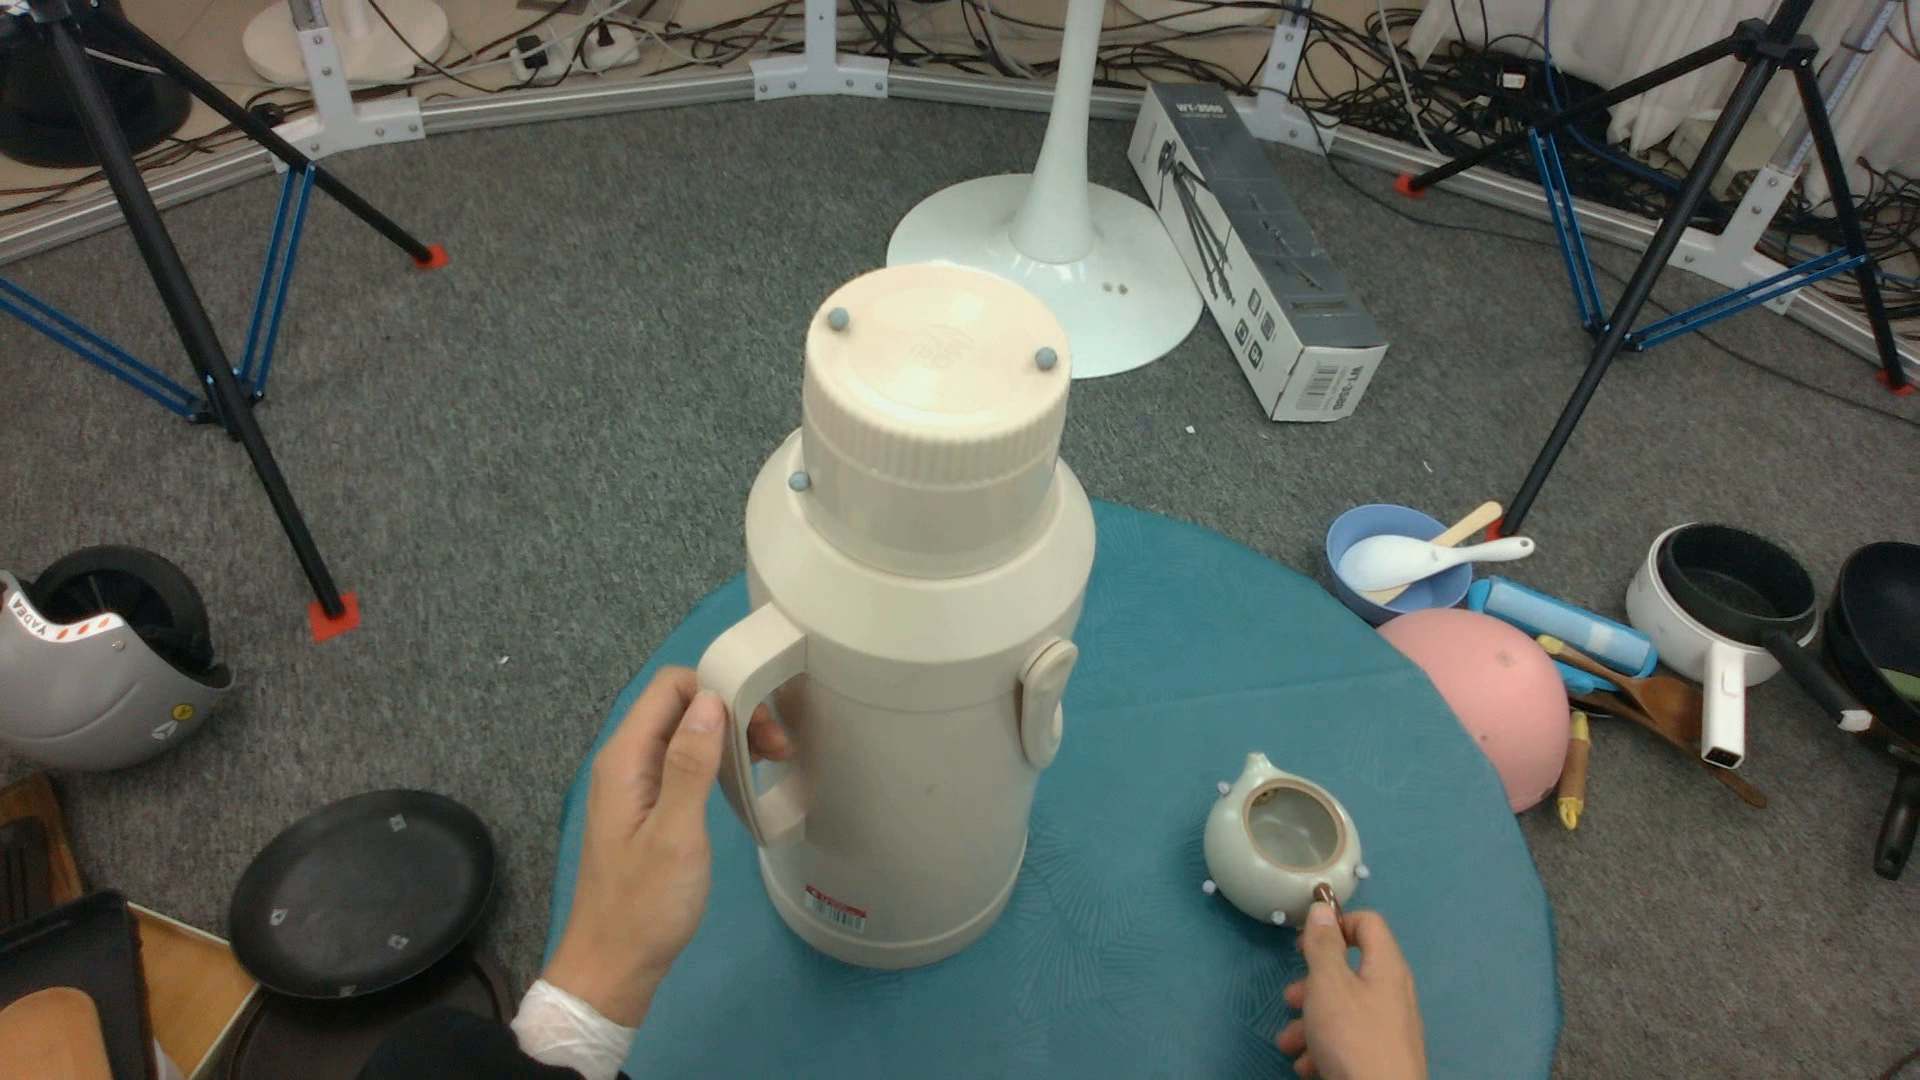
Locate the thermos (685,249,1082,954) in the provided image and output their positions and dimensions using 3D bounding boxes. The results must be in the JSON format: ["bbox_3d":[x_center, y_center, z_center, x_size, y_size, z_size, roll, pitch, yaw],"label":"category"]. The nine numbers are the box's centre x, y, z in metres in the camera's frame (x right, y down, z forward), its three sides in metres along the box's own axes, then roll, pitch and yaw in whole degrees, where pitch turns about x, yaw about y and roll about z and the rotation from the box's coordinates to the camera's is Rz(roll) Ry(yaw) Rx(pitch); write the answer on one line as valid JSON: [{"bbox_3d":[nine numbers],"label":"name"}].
[{"bbox_3d":[-0.043,0.055,0.678,0.175,0.404,0.208,39,55,23],"label":"thermos"}]

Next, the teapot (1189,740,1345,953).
[{"bbox_3d":[0.187,0.183,0.817,0.092,0.059,0.128,-9,49,-19],"label":"teapot"}]
